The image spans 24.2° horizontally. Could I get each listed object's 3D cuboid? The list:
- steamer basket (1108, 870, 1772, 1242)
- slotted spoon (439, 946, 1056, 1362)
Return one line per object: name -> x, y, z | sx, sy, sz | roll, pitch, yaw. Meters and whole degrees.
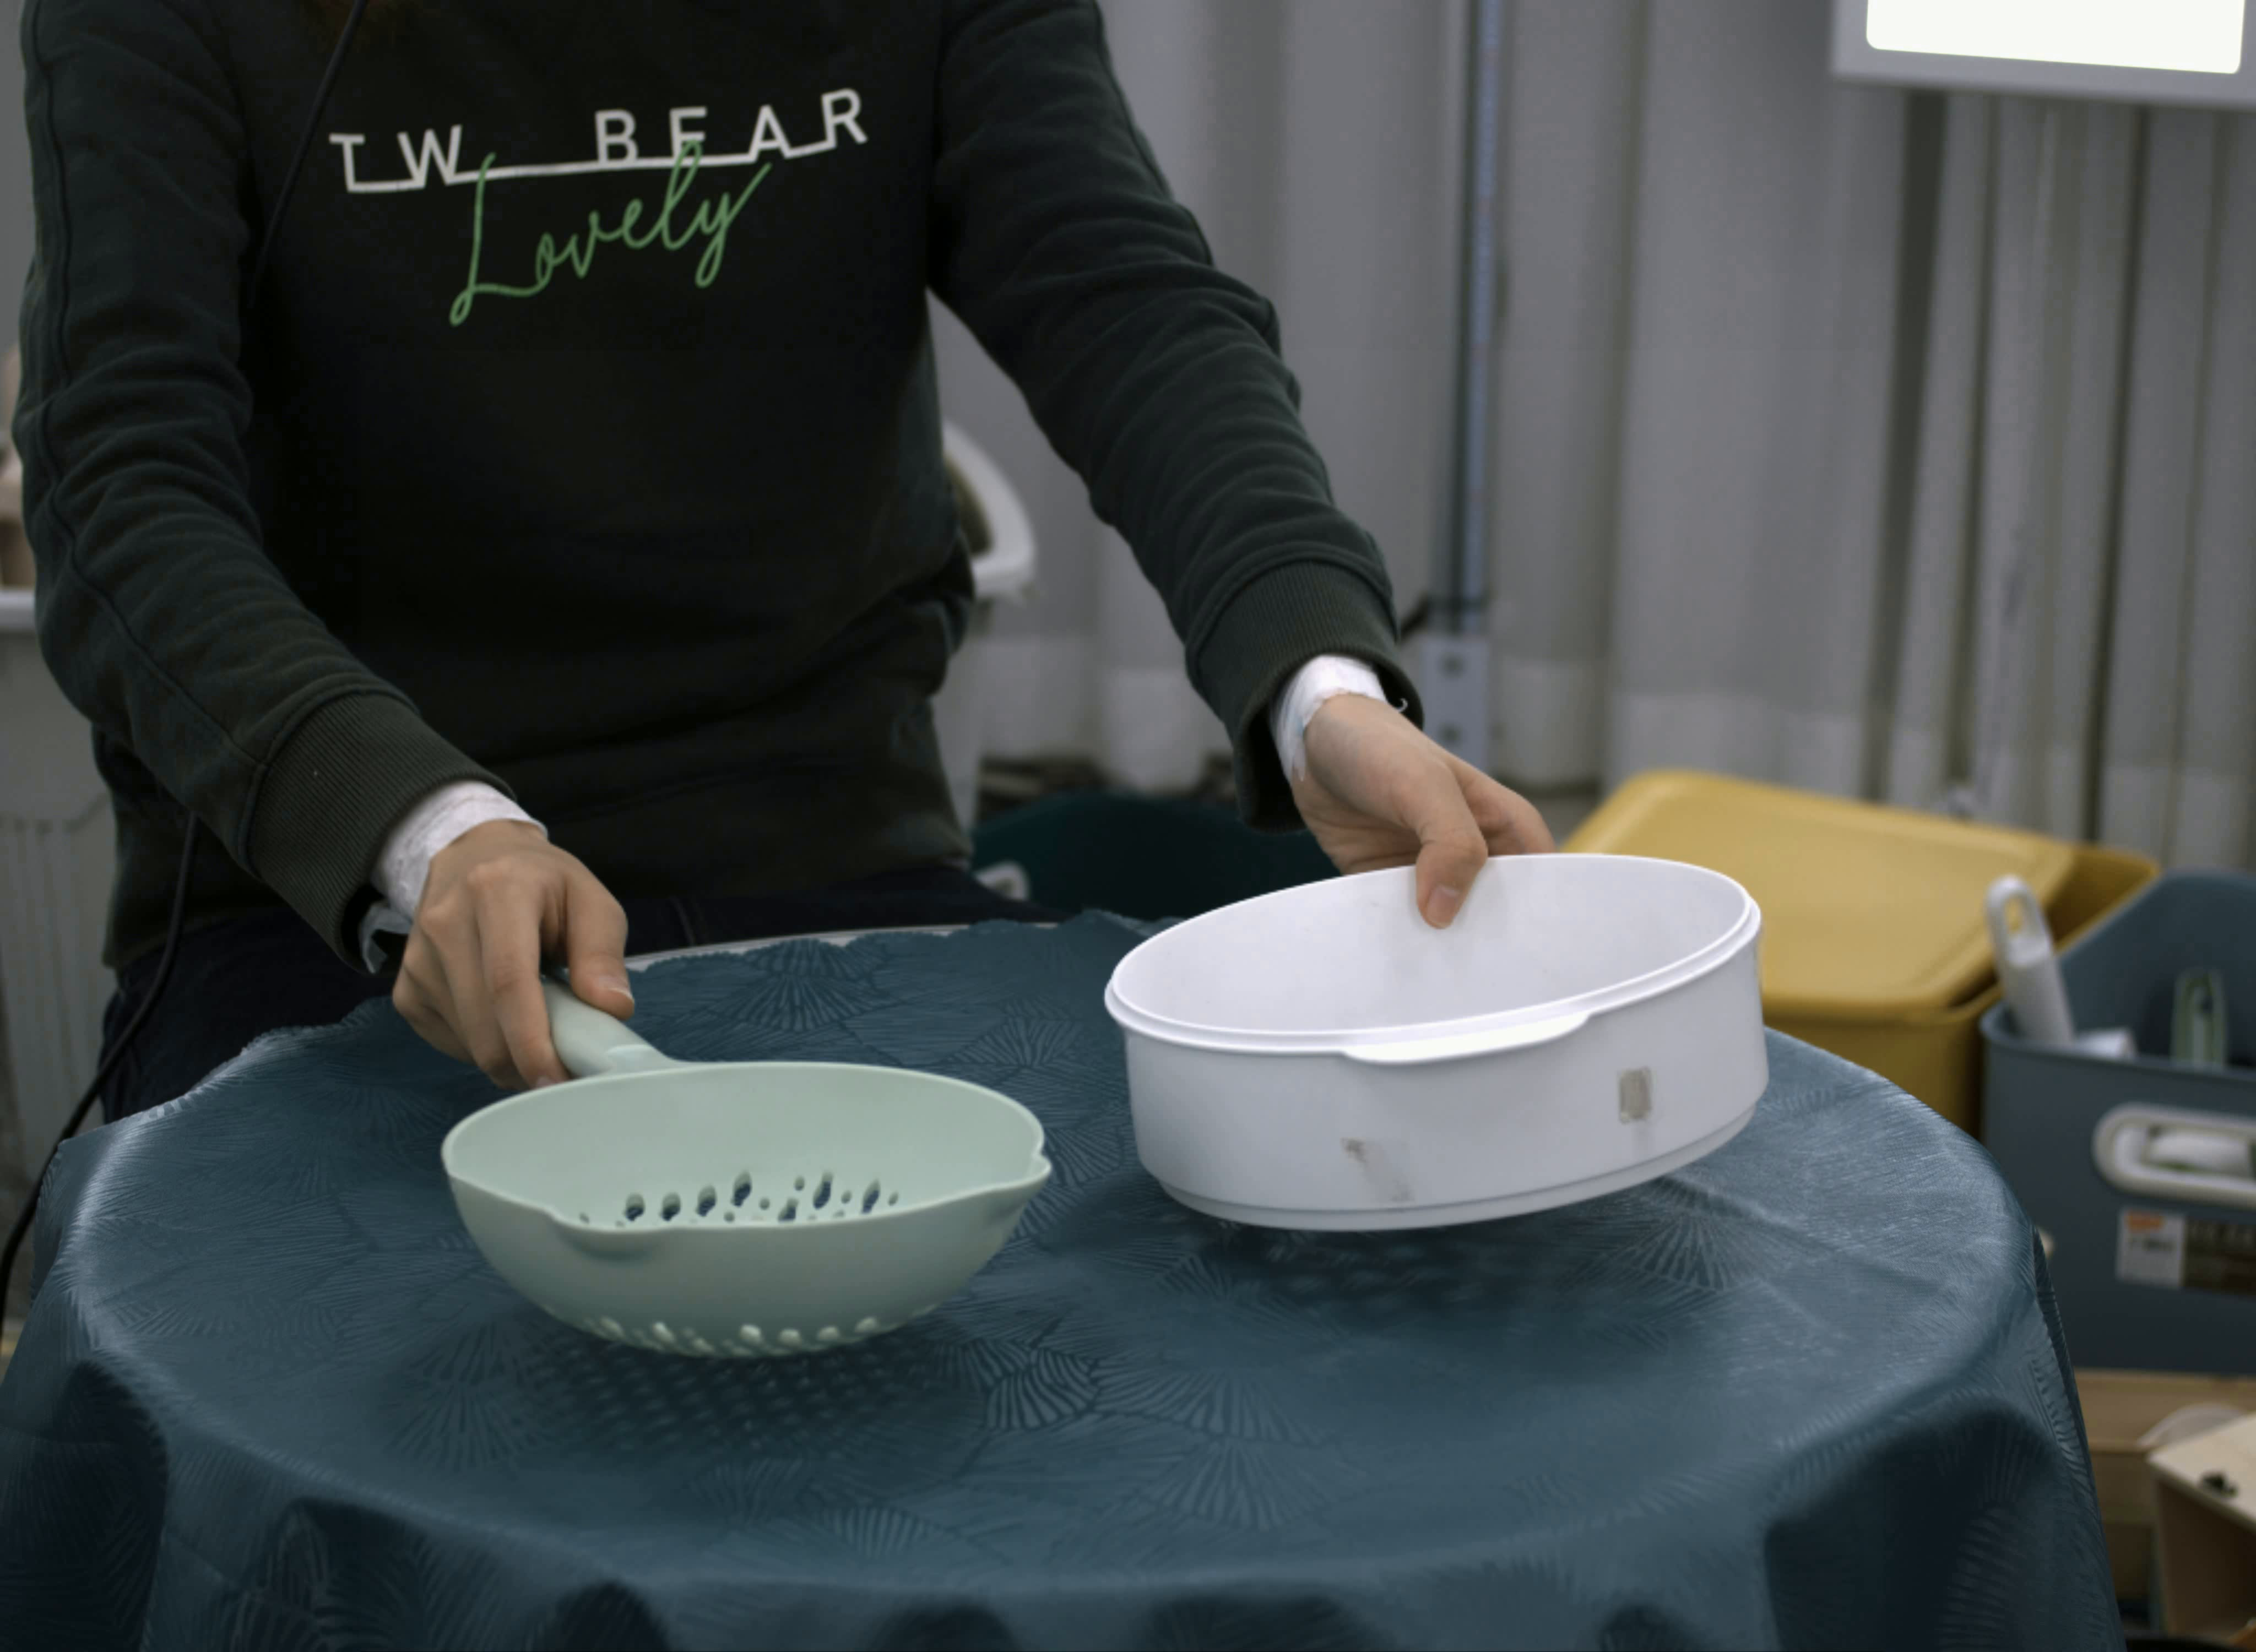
steamer basket -> 0.097, 0.069, 1.598 | 0.201, 0.070, 0.229 | -7, 13, -3
slotted spoon -> -0.144, 0.081, 1.561 | 0.170, 0.076, 0.354 | -4, 21, -22
